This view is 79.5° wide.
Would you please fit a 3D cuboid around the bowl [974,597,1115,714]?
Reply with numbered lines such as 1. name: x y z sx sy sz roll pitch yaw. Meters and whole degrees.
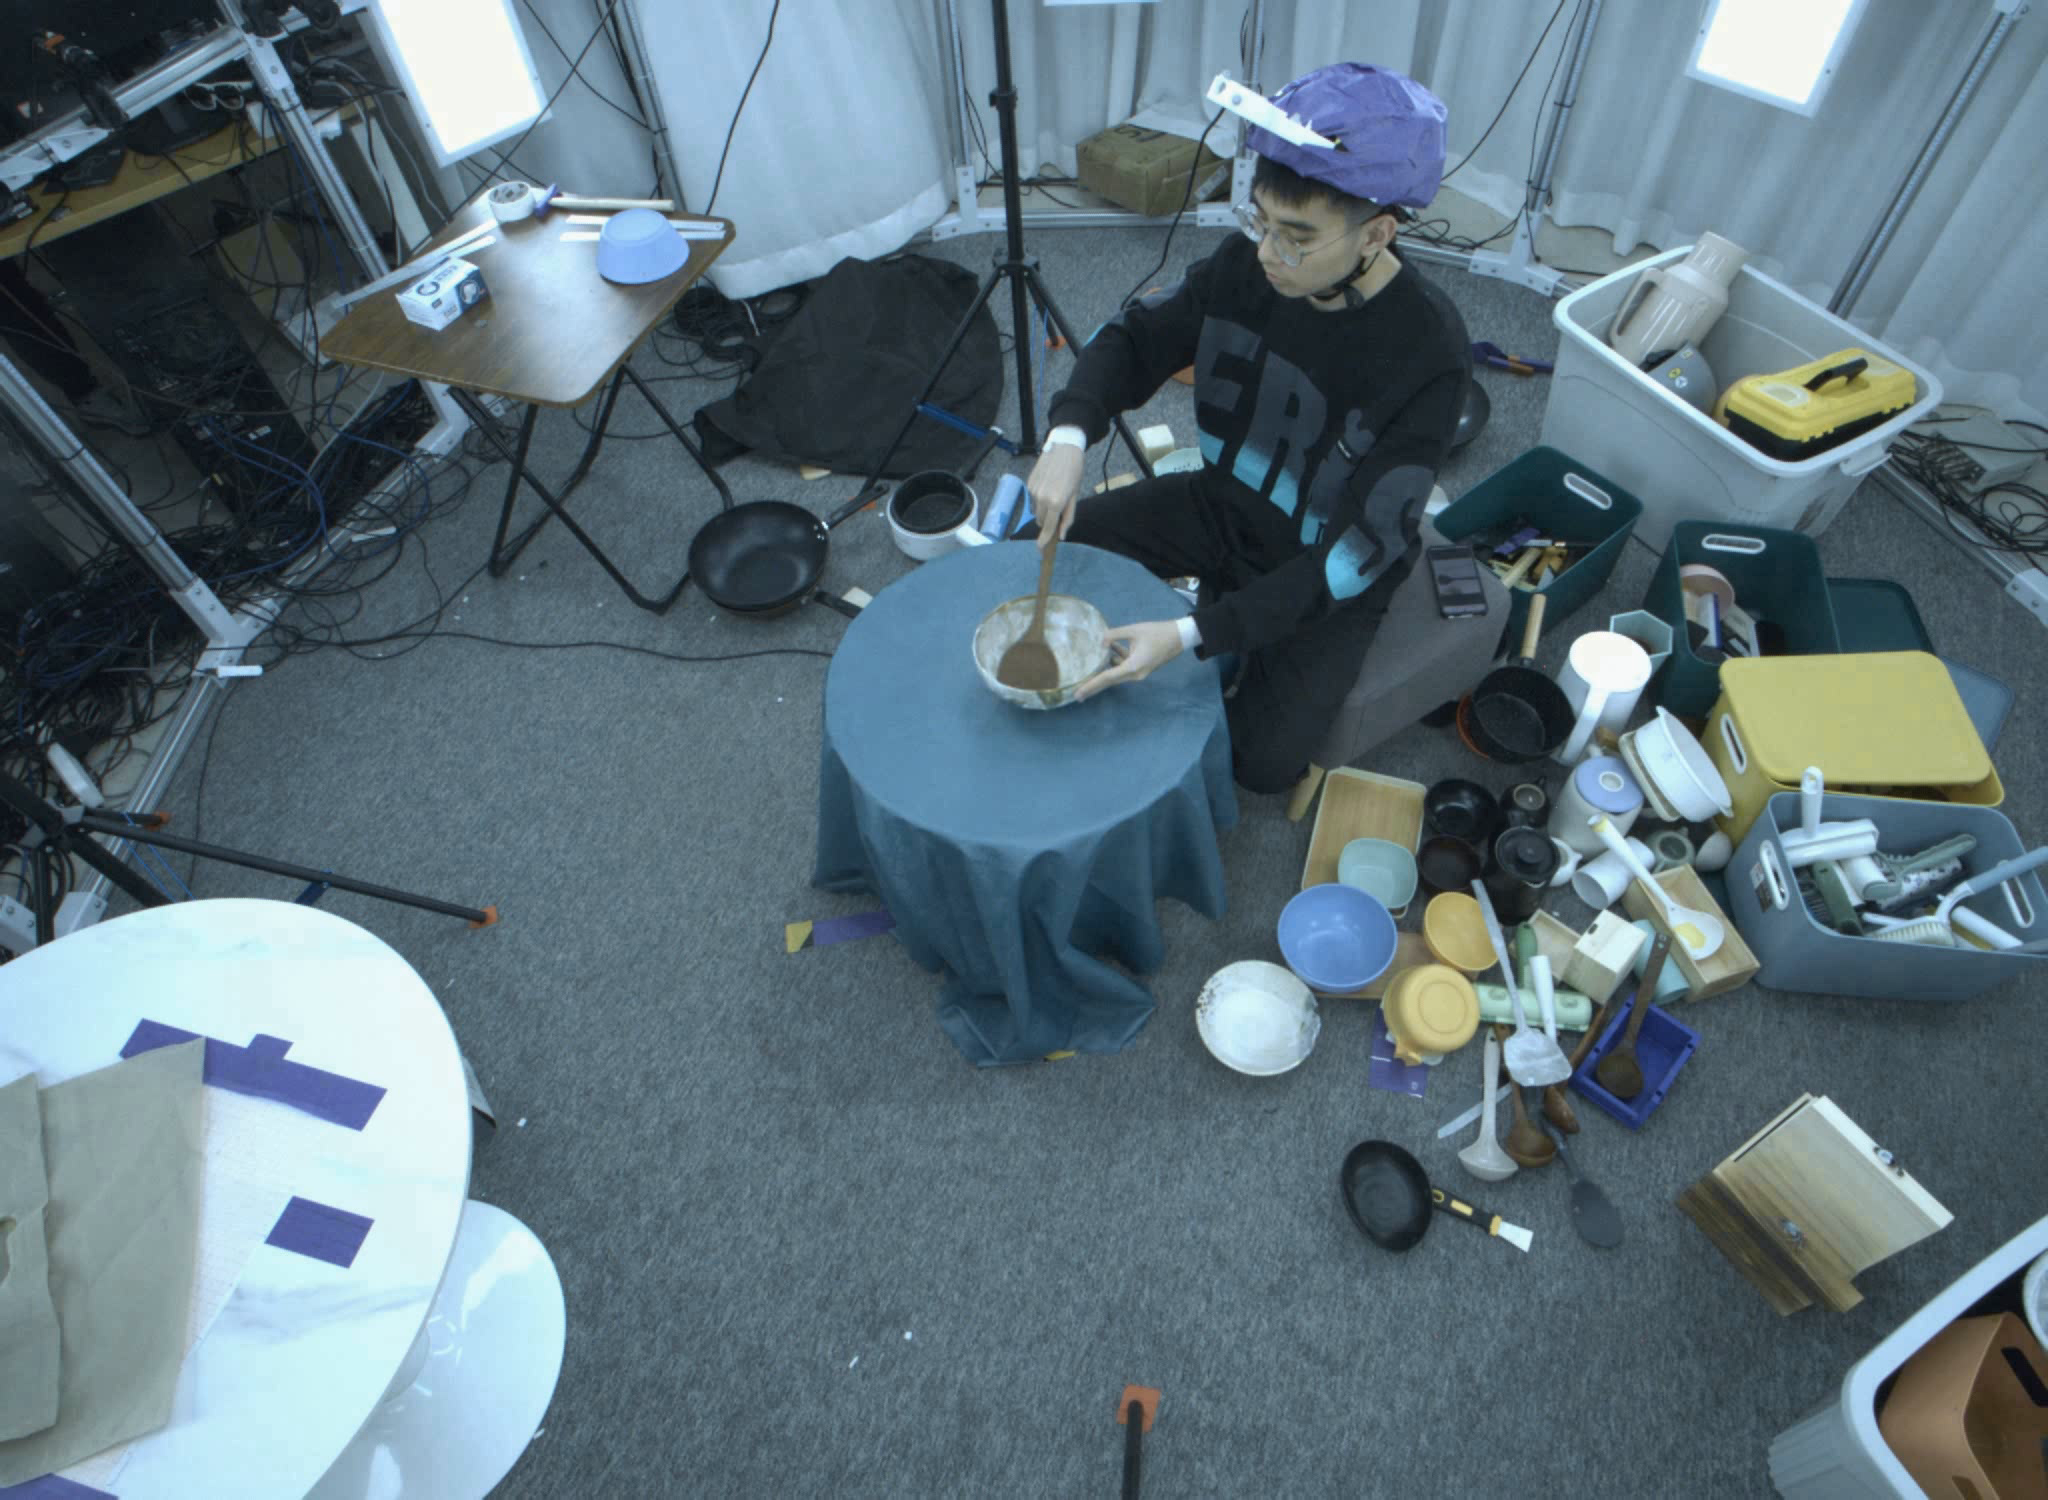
1. bowl: 0.035 -0.125 1.824 0.214 0.095 0.212 -1 51 3

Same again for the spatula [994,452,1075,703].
1. spatula: 0.029 -0.253 1.798 0.097 0.015 0.385 11 88 -18
